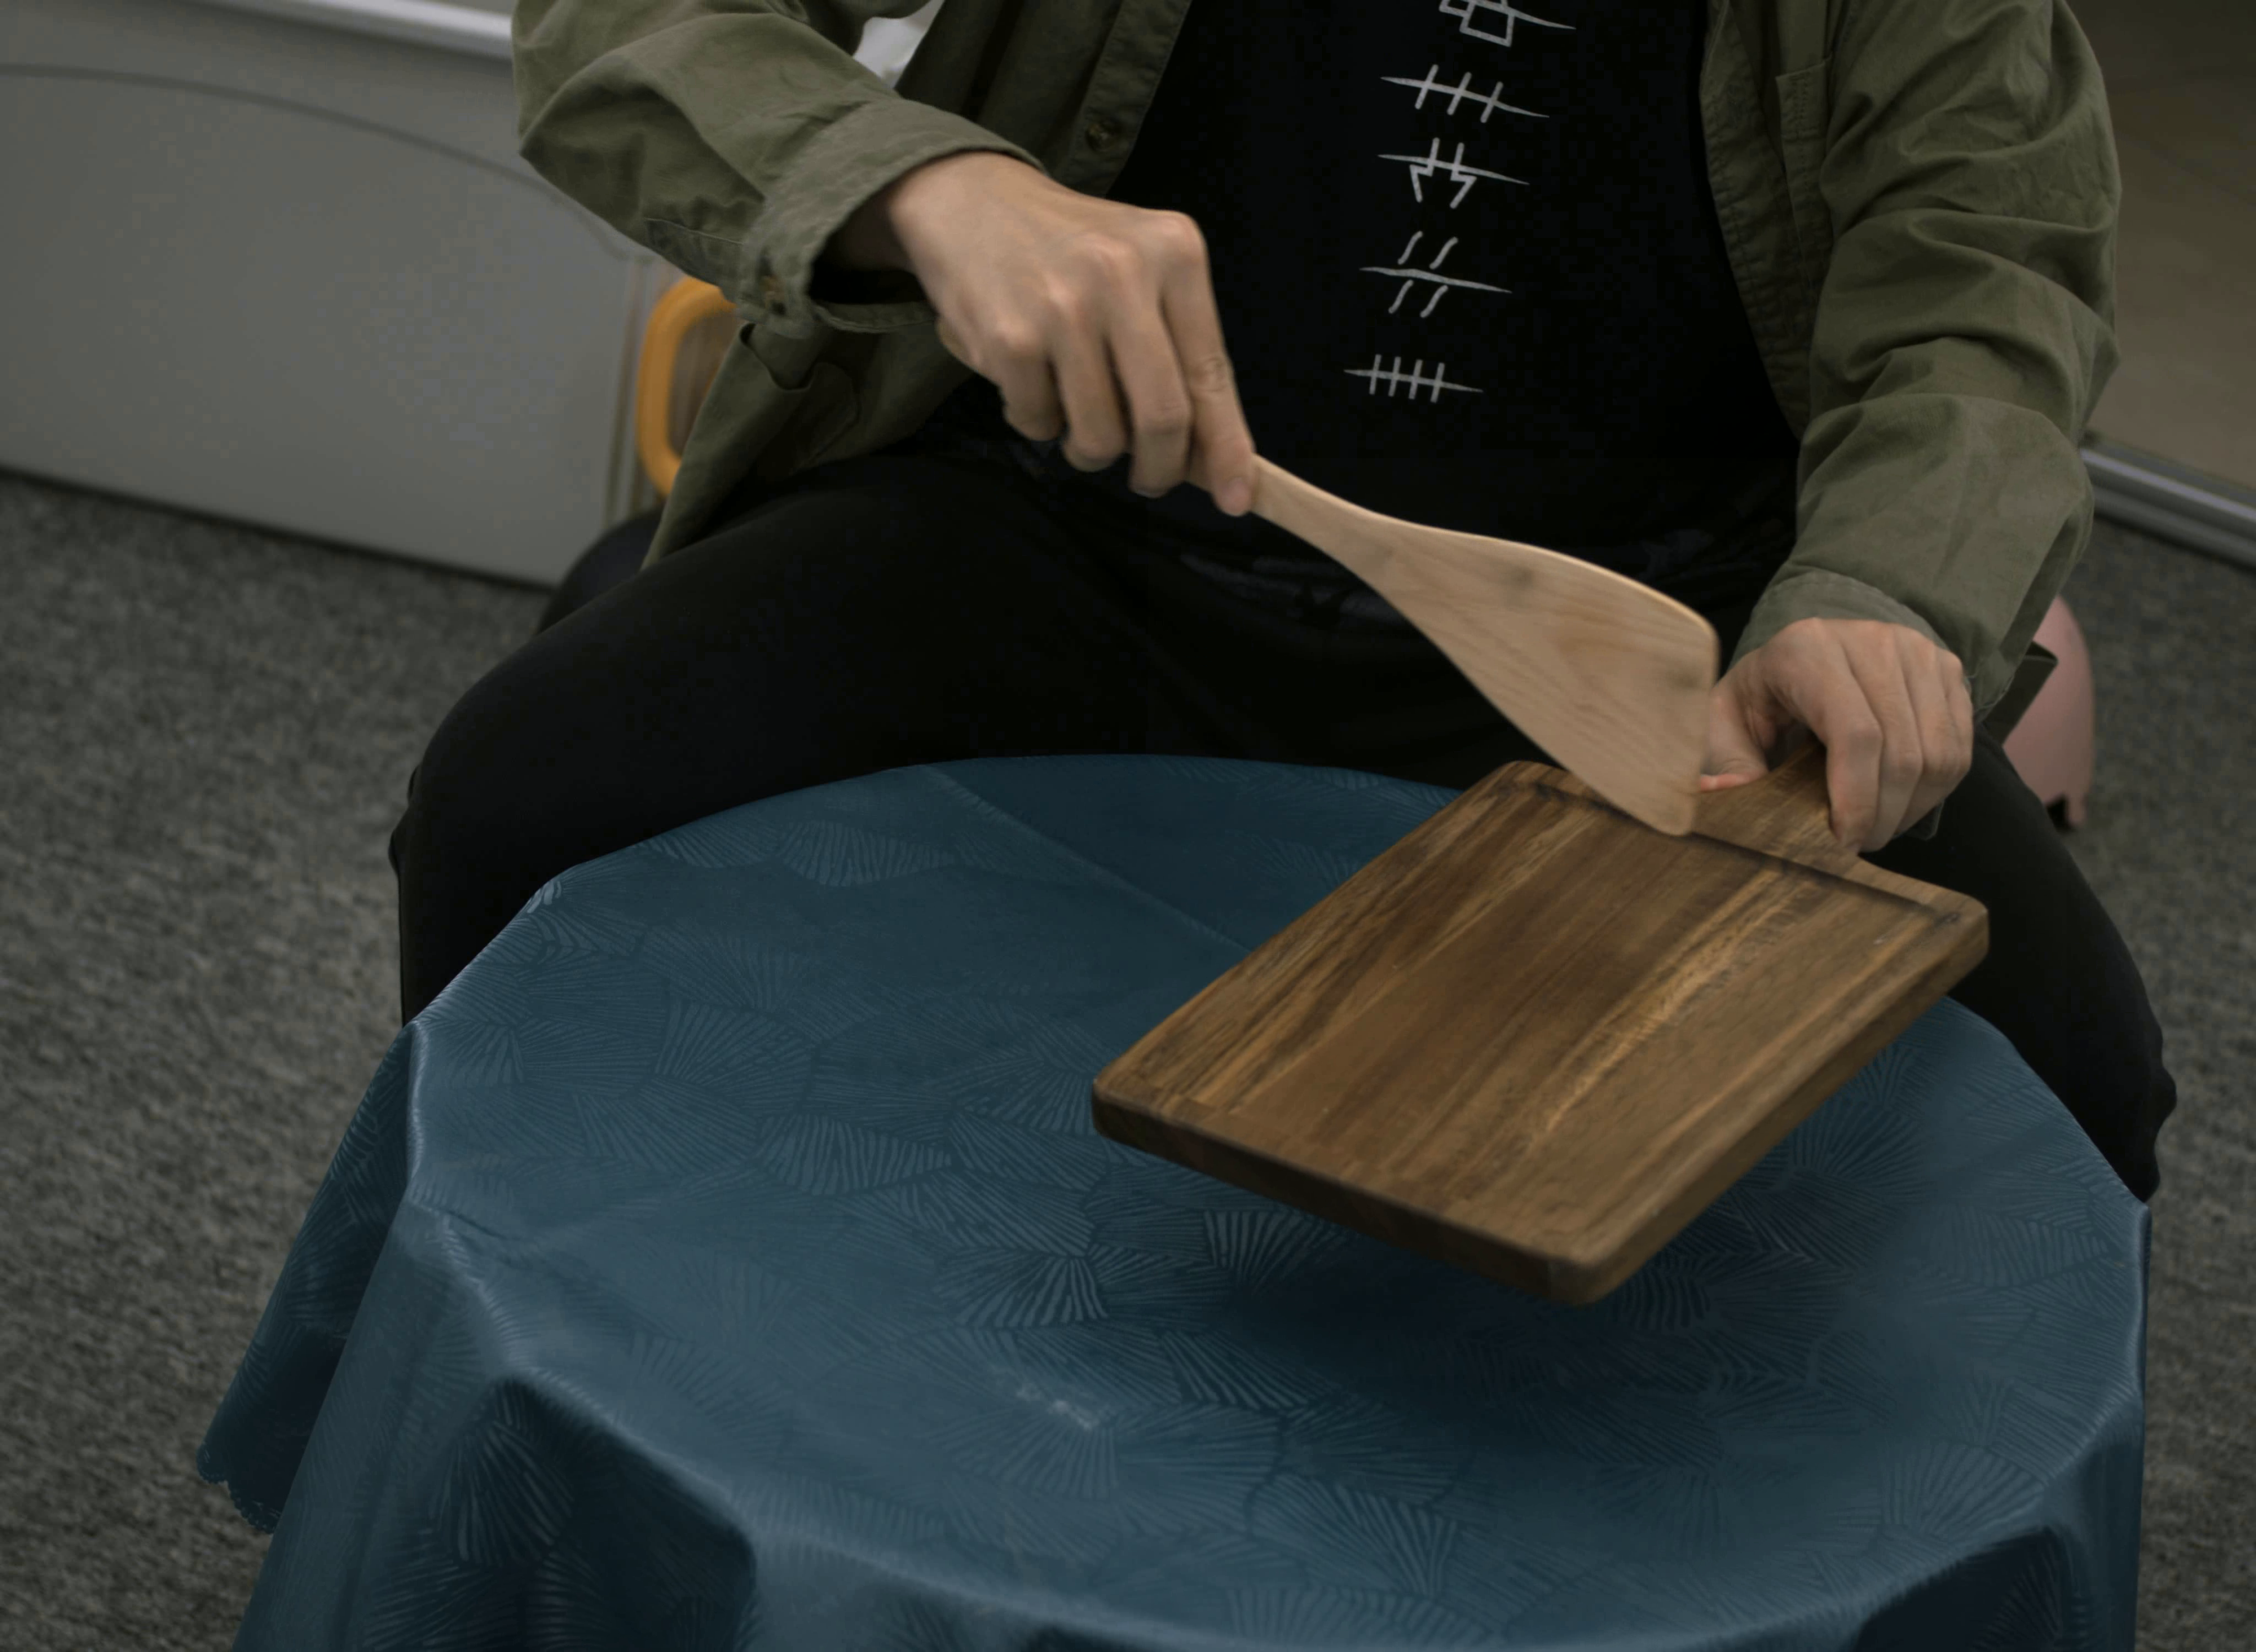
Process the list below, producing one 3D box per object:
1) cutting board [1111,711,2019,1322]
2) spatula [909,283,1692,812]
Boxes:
[{"bbox_3d":[0.175,0.045,1.767,0.202,0.023,0.351,18,37,35],"label":"cutting board"},{"bbox_3d":[0.055,-0.109,1.807,0.329,0.079,0.016,29,35,22],"label":"spatula"}]
